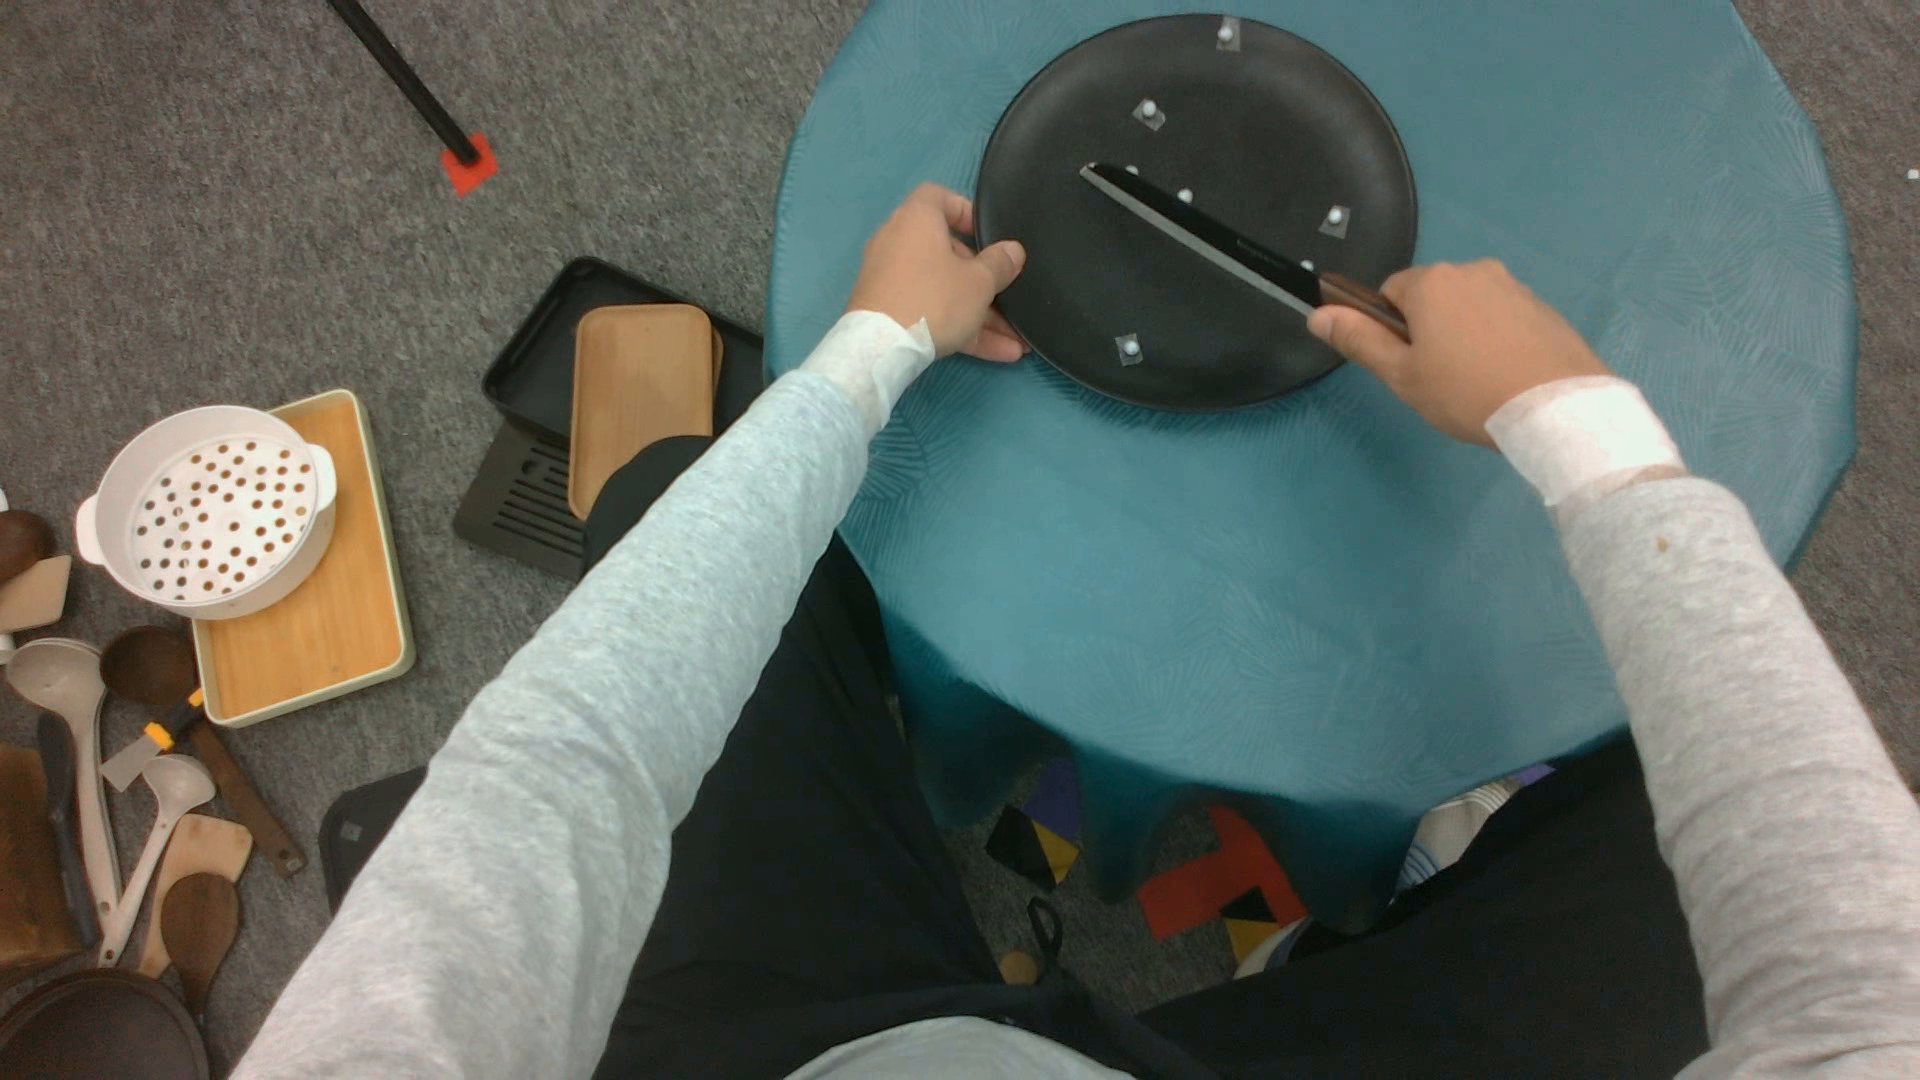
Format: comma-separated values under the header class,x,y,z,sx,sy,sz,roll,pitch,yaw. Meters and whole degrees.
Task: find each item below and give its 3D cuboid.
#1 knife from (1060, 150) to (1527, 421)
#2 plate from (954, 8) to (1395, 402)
class,x,y,z,sx,sy,sz,roll,pitch,yaw
knife,0.161,-0.140,0.716,0.289,0.050,0.020,36,78,26
plate,0.118,-0.188,0.773,0.244,0.023,0.245,-1,75,2
